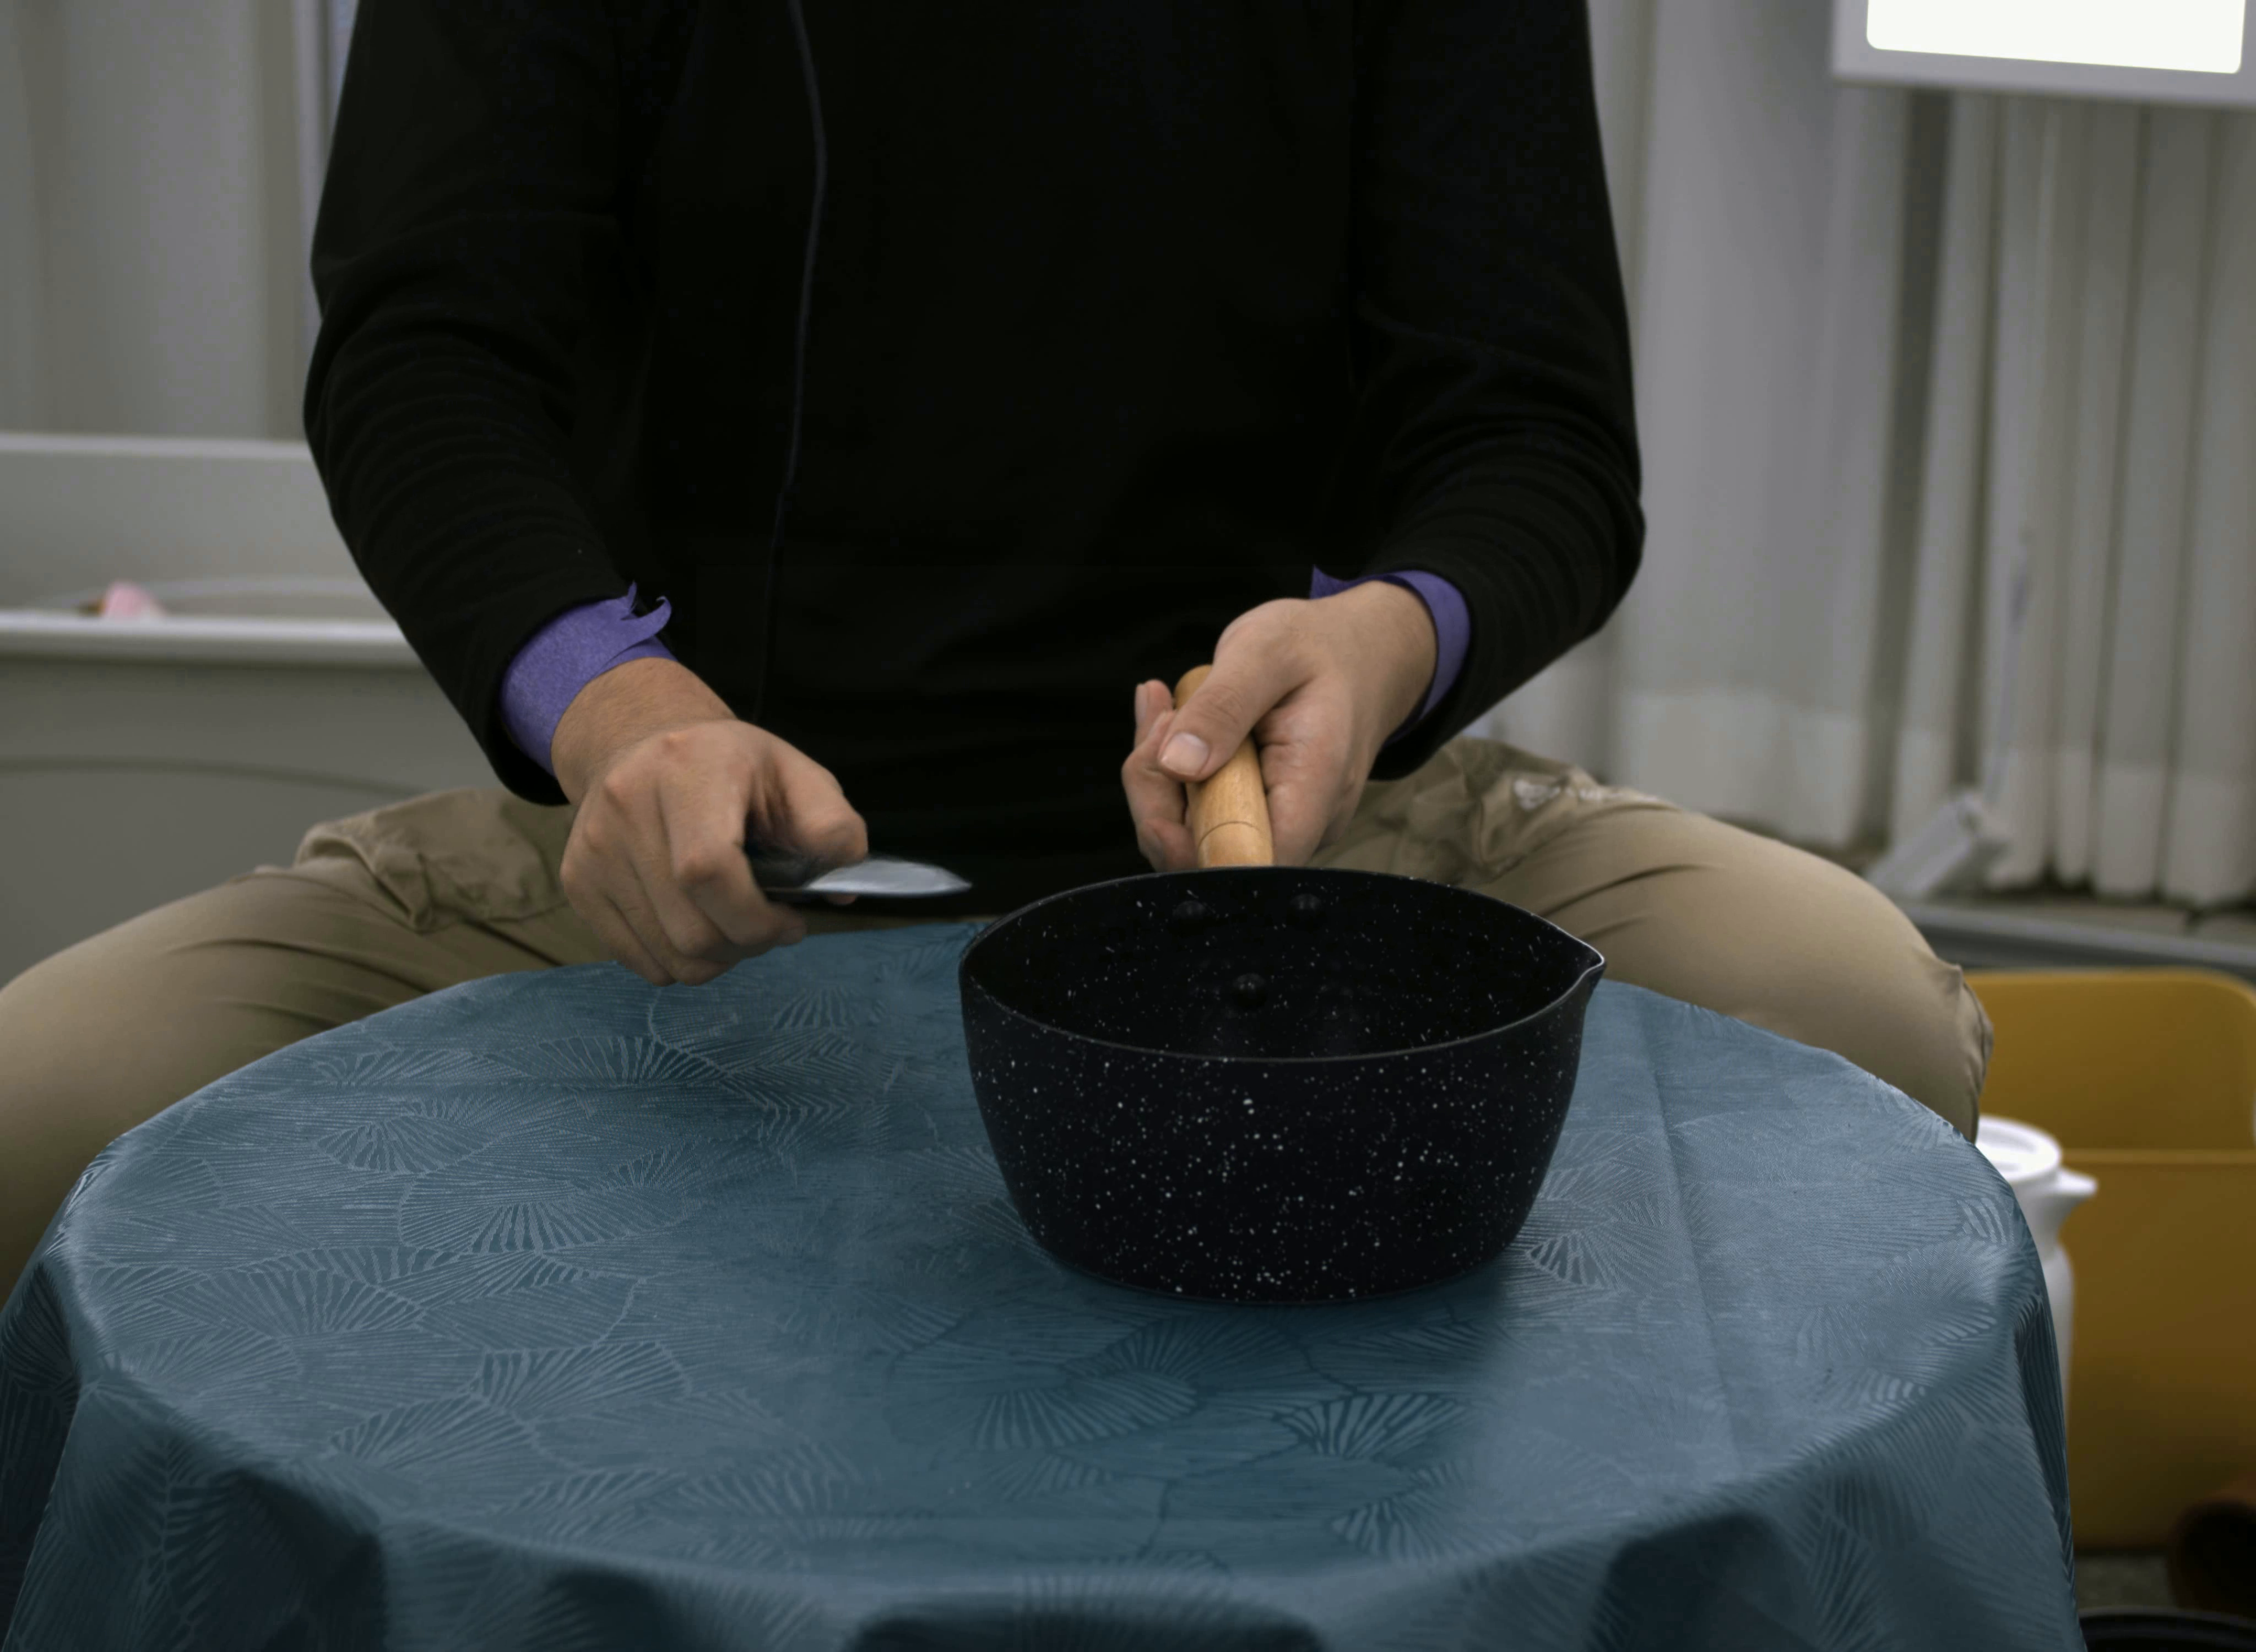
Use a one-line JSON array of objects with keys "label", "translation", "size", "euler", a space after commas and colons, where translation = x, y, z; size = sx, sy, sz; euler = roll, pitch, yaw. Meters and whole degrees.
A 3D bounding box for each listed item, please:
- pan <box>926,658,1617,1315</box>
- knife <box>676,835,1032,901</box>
[{"label": "pan", "translation": [0.038, 0.045, 1.653], "size": [0.207, 0.109, 0.340], "euler": [-1, 18, -4]}, {"label": "knife", "translation": [-0.087, 0.013, 1.620], "size": [0.024, 0.016, 0.236], "euler": [-37, 17, -24]}]
